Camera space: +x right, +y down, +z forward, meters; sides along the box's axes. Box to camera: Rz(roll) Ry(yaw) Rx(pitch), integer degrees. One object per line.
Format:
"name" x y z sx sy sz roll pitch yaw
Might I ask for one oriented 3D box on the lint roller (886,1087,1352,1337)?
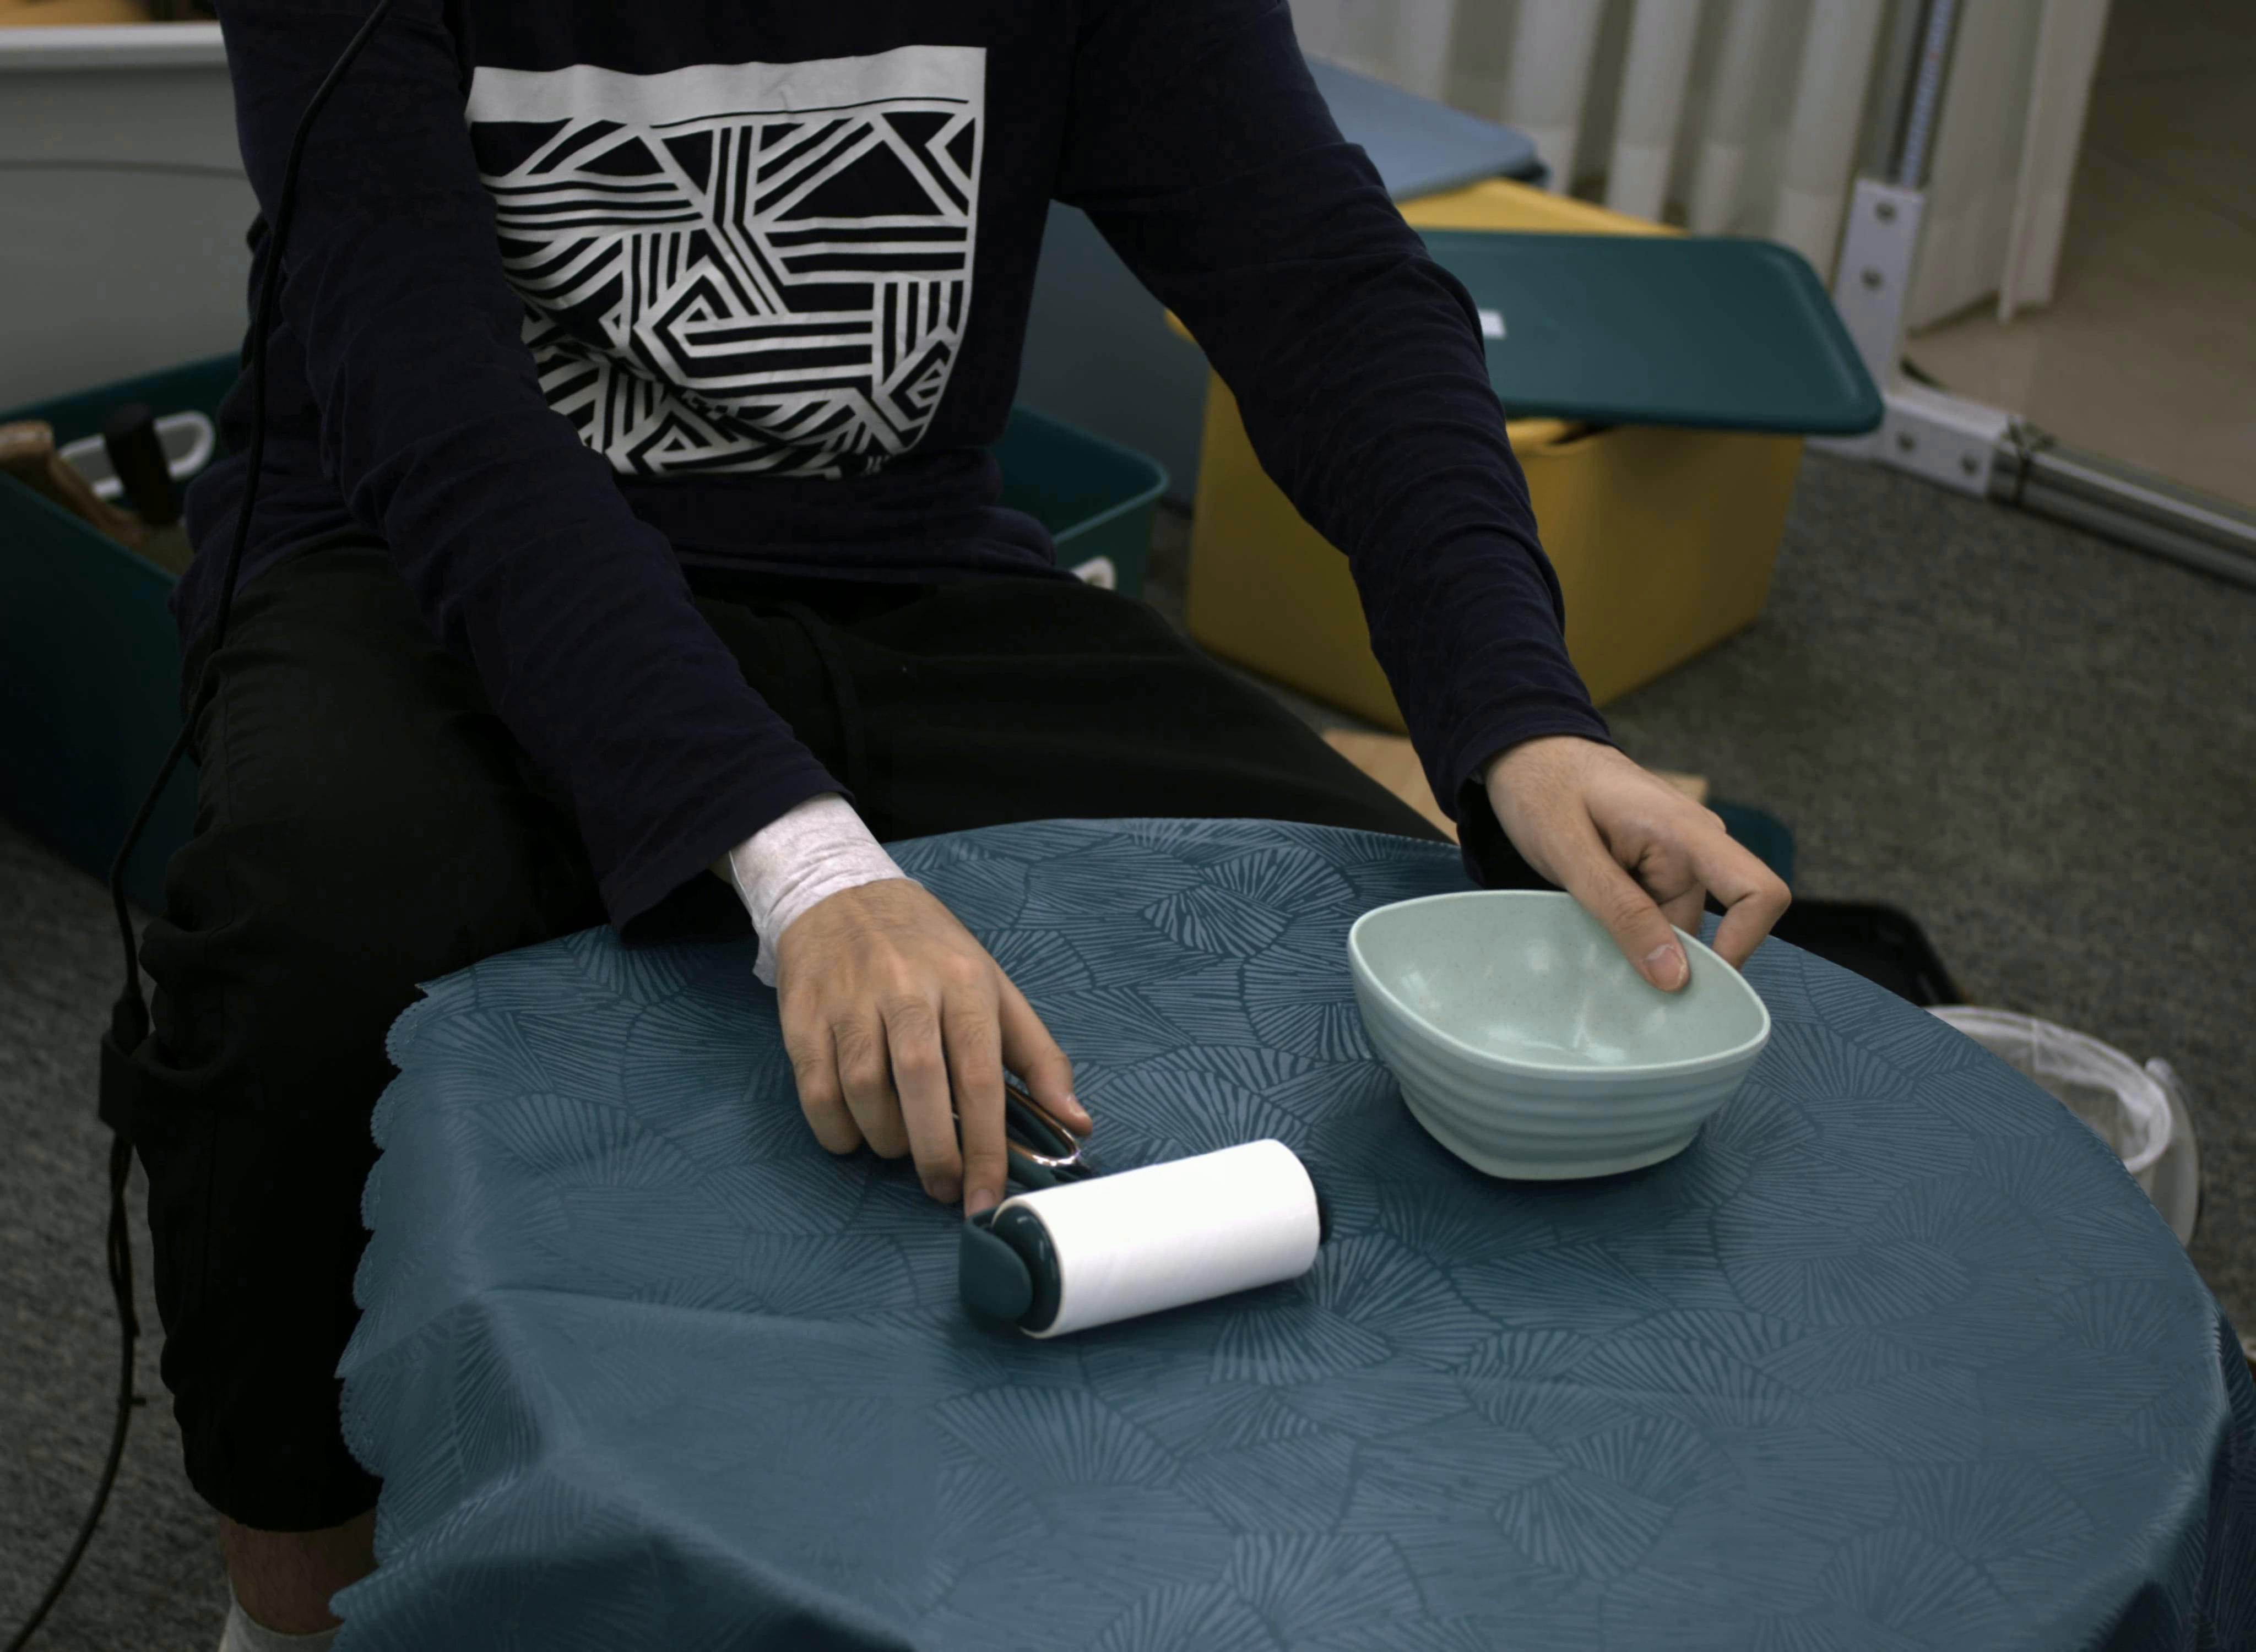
"lint roller" -0.028 0.109 1.785 0.133 0.048 0.181 -11 28 -31

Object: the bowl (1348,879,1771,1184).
"bowl" 0.146 0.078 1.859 0.151 0.058 0.152 6 27 -3
